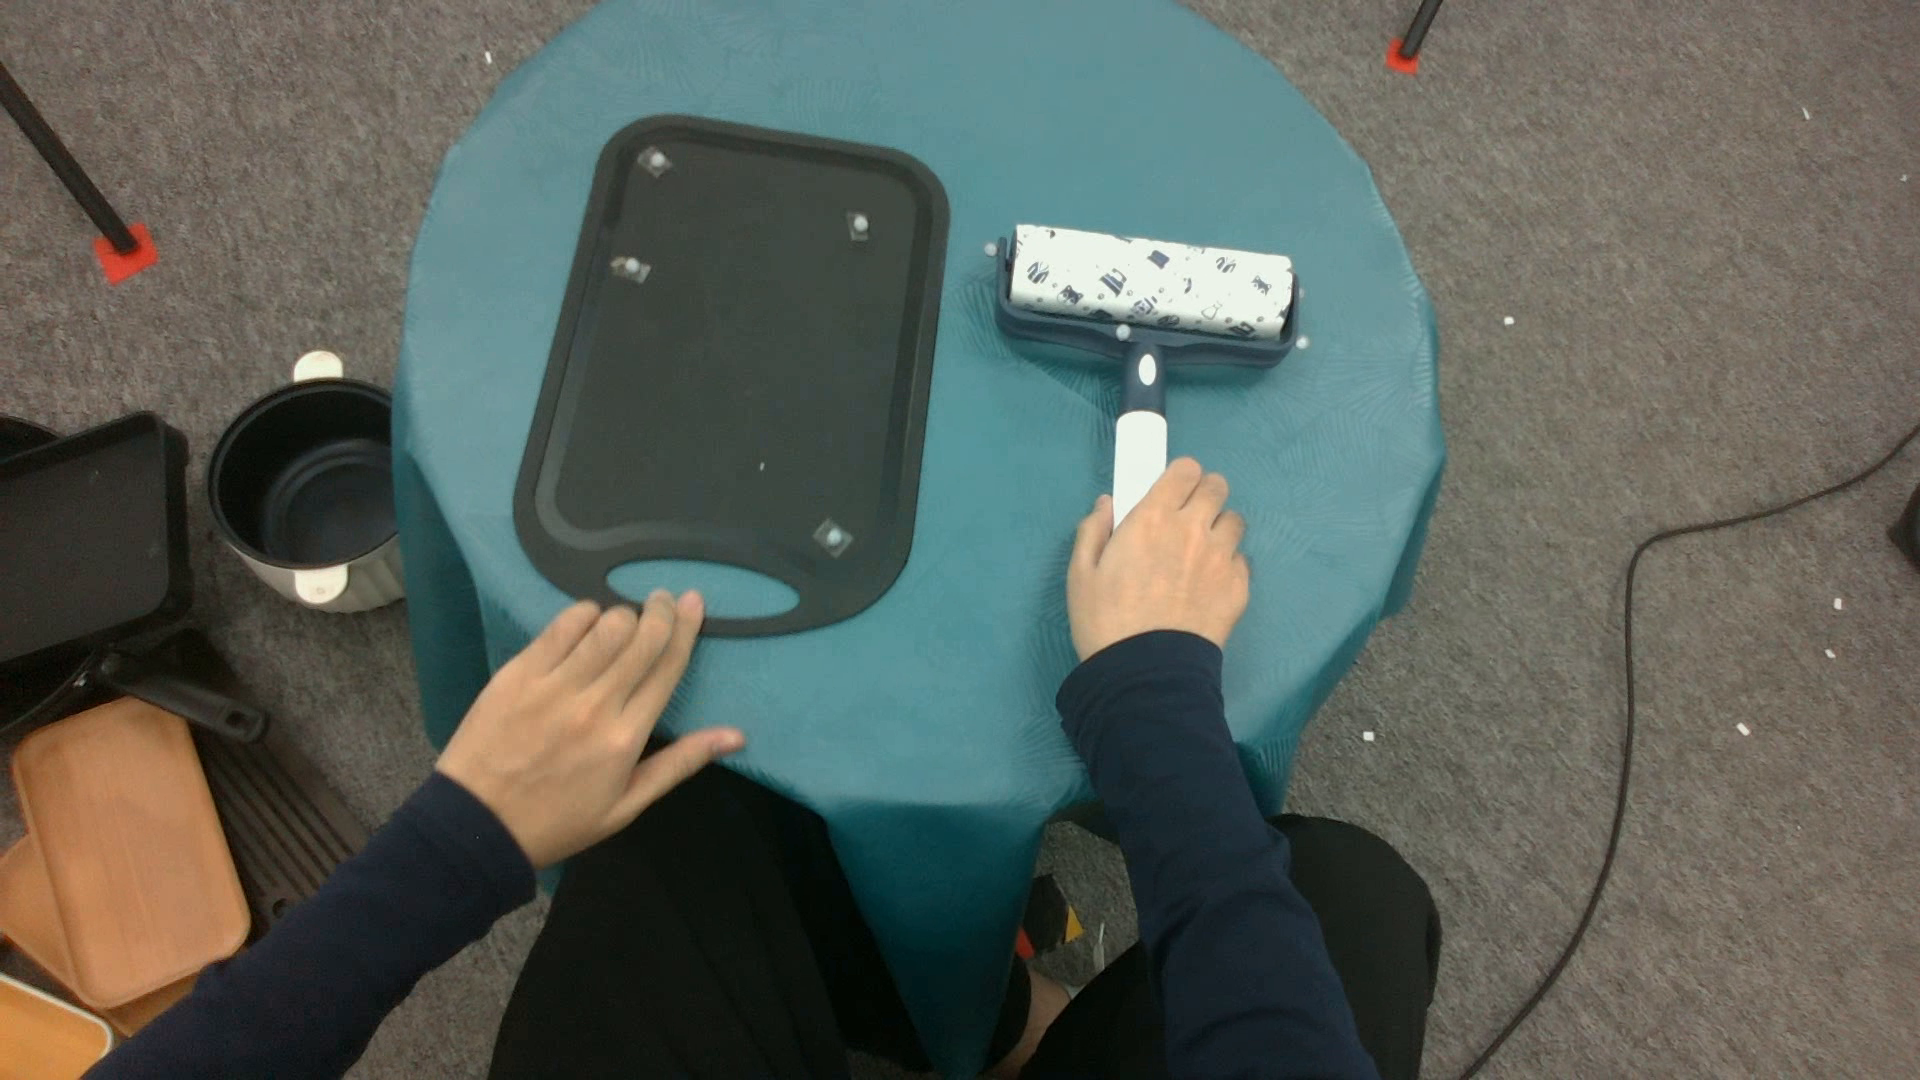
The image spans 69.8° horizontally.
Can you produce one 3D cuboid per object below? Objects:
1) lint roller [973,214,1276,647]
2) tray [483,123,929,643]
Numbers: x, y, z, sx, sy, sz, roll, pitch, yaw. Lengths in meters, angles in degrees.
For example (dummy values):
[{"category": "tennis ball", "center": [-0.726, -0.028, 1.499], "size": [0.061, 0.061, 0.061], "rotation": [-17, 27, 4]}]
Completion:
[{"category": "lint roller", "center": [0.091, -0.063, 0.764], "size": [0.176, 0.050, 0.248], "rotation": [6, 68, -7]}, {"category": "tray", "center": [-0.133, -0.097, 0.764], "size": [0.211, 0.010, 0.326], "rotation": [8, 64, -4]}]
